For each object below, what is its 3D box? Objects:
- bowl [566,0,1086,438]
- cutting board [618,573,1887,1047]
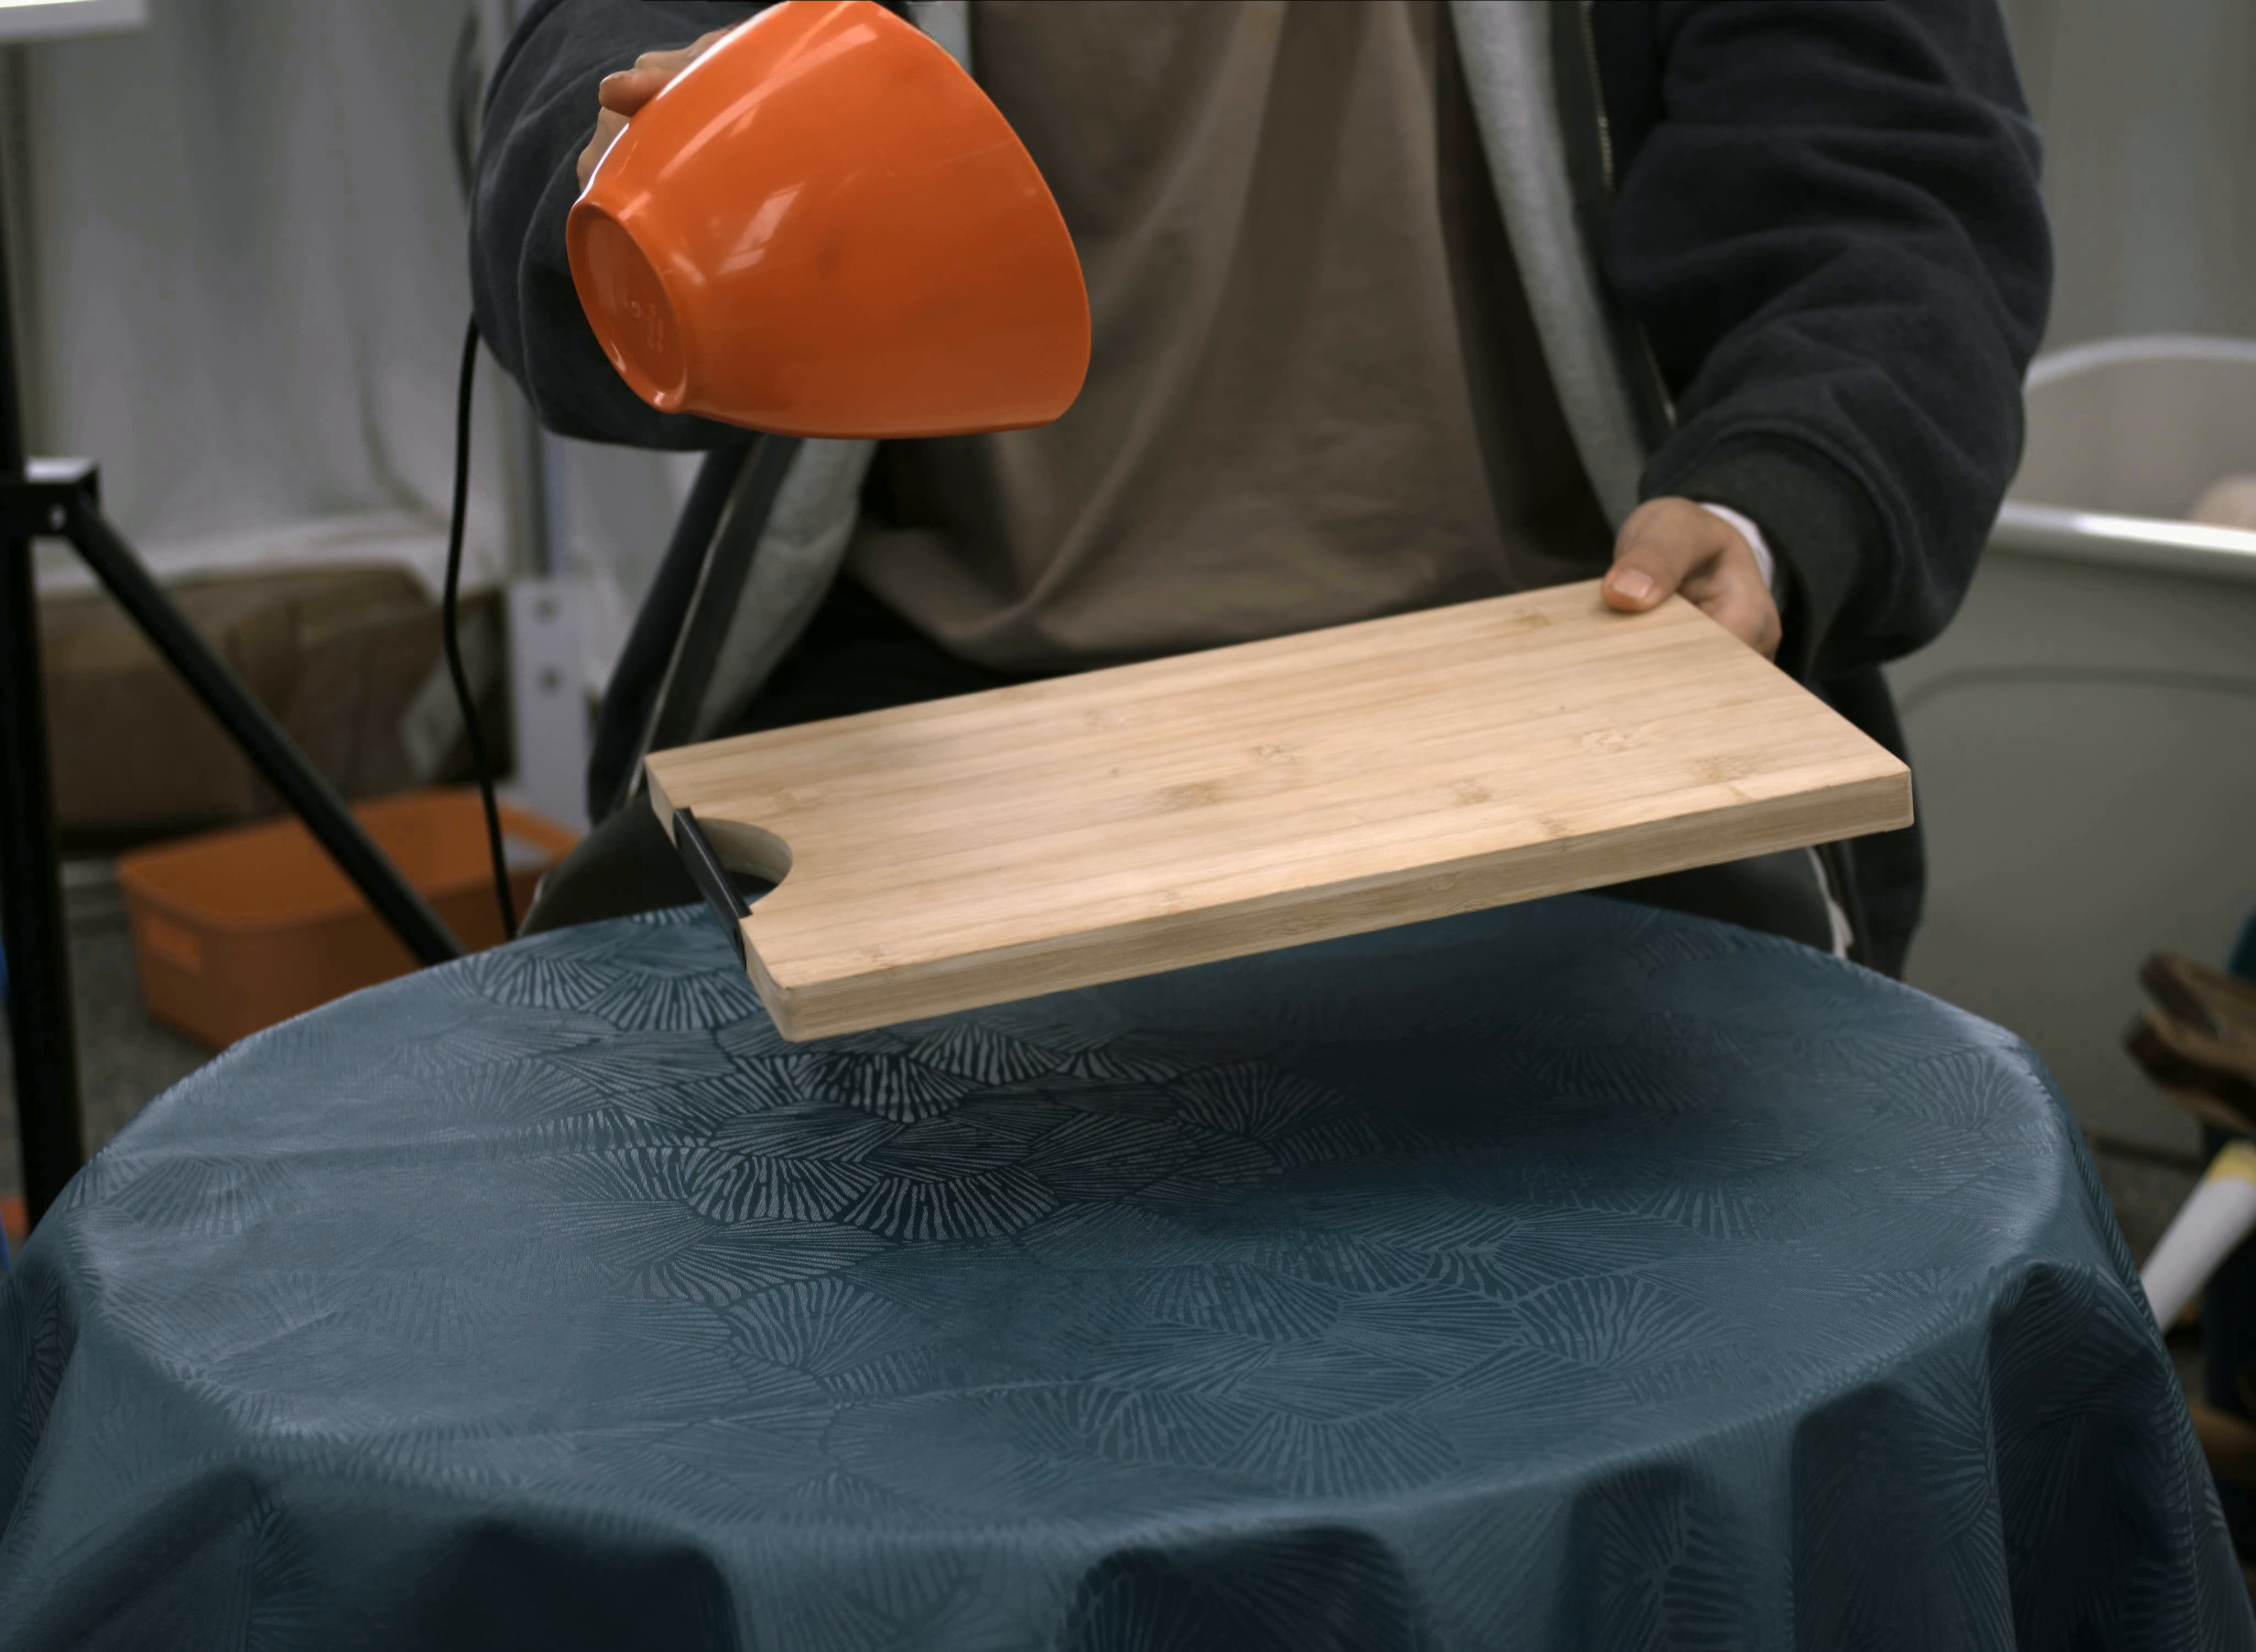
[{"bbox_3d":[-0.096,-0.164,1.549,0.103,0.147,0.151,-27,25,-22],"label":"bowl"},{"bbox_3d":[0.032,-0.009,1.627,0.344,0.023,0.254,-11,18,-10],"label":"cutting board"}]
